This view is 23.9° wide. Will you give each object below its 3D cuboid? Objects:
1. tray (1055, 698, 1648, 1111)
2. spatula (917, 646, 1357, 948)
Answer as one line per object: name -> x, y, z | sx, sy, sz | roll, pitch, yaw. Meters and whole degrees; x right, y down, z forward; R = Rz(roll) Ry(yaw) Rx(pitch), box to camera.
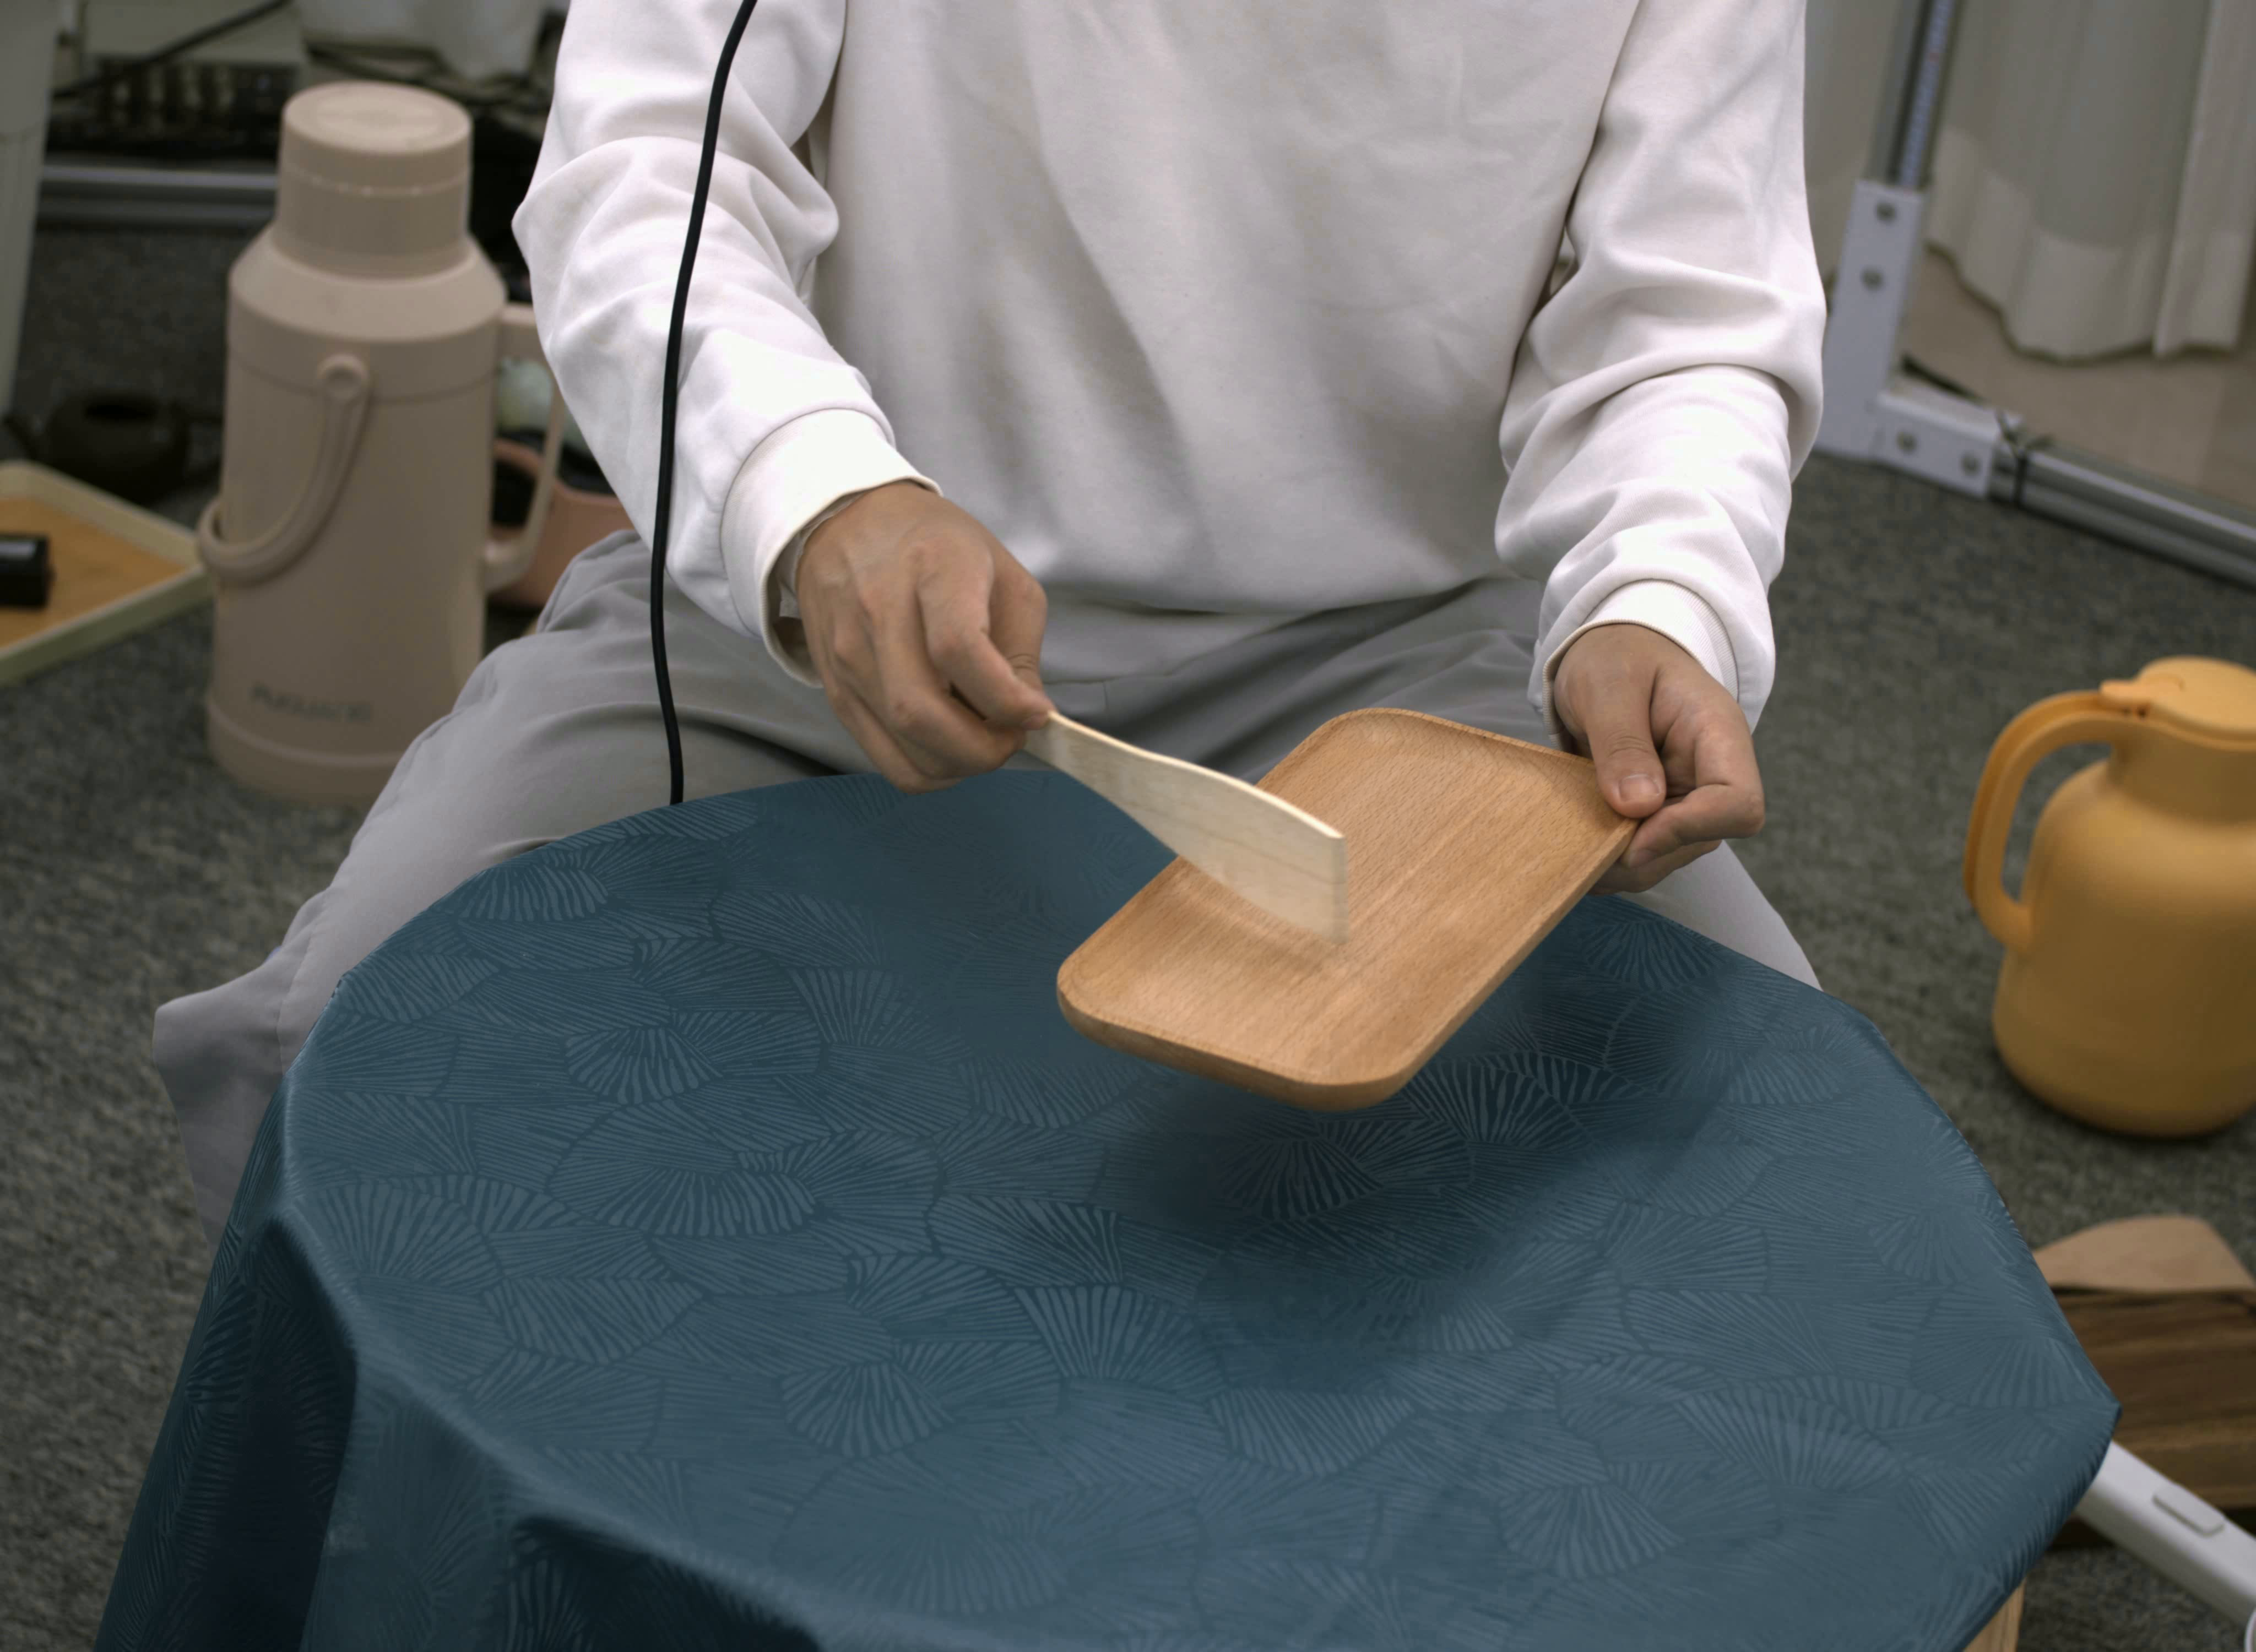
tray -> 0.080, 0.024, 1.827 | 0.131, 0.023, 0.250 | 19, 33, 22
spatula -> 0.000, -0.016, 1.827 | 0.209, 0.050, 0.005 | 28, 45, 36
